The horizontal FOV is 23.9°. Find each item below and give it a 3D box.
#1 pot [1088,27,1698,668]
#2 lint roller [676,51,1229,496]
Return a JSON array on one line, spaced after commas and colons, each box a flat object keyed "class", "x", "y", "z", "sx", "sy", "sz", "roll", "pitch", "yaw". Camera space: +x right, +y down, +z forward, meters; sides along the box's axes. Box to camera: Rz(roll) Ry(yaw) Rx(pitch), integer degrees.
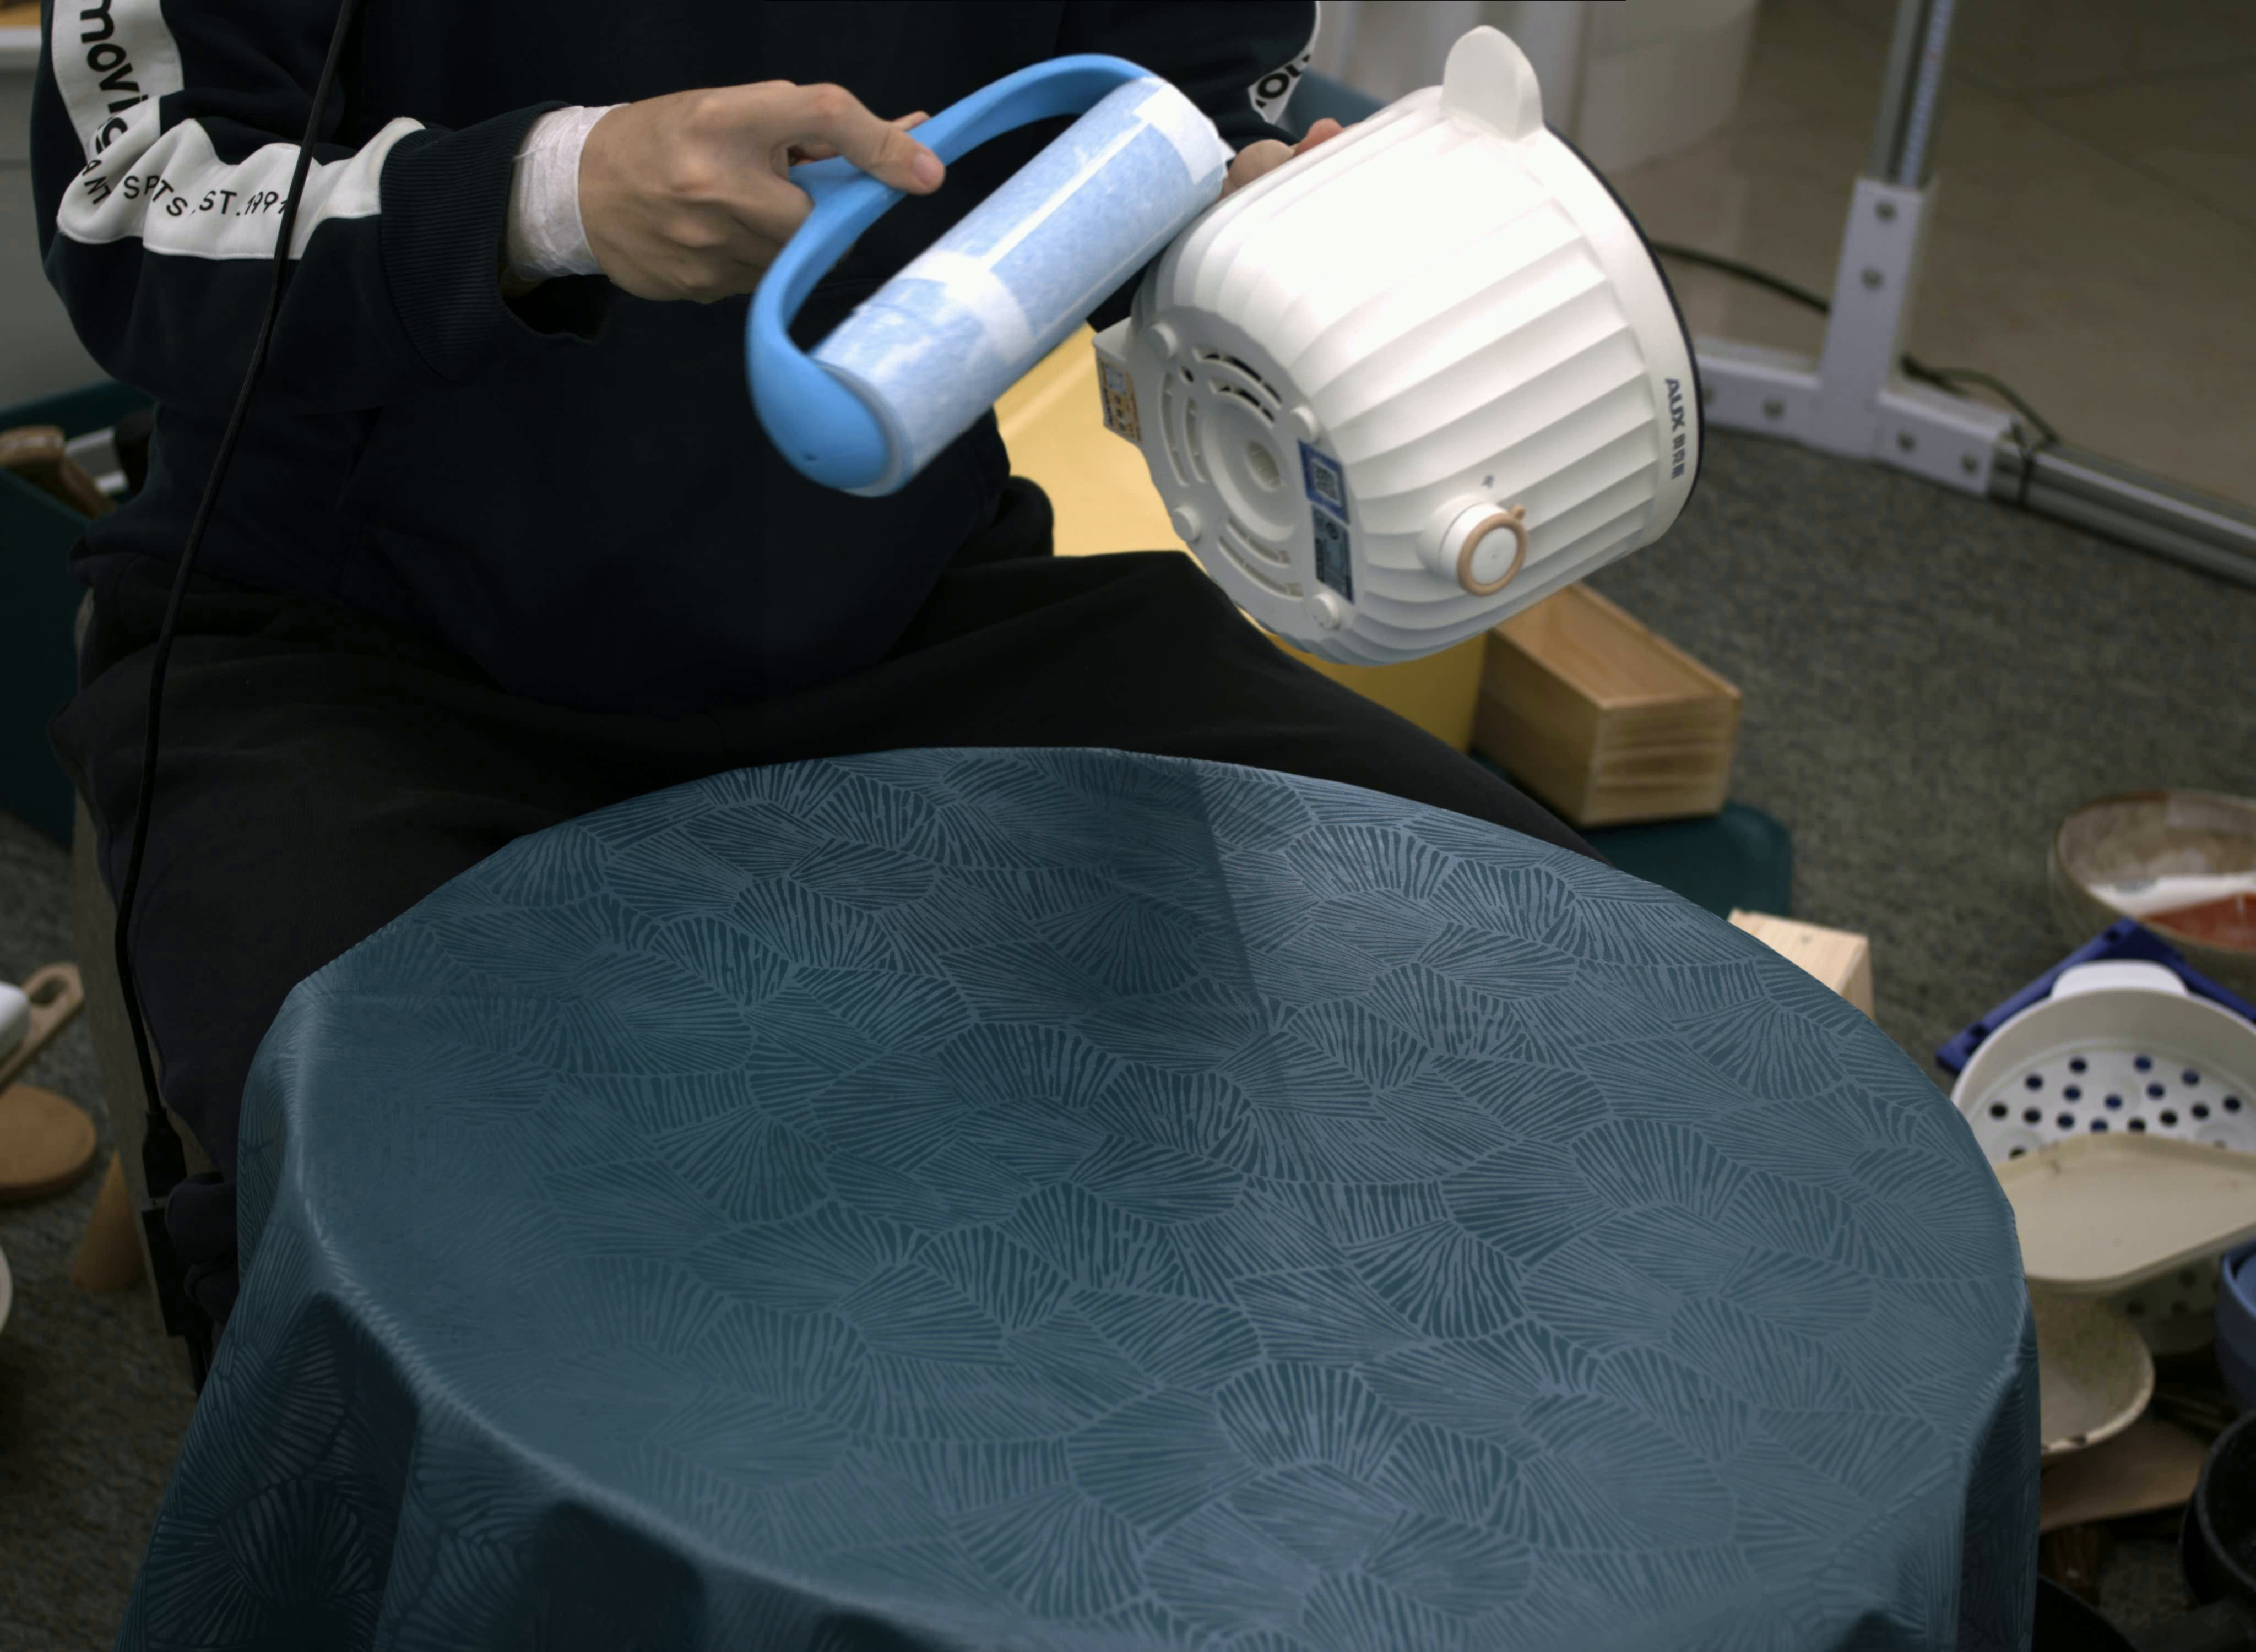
[{"class": "pot", "x": 0.093, "y": -0.147, "z": 1.869, "sx": 0.142, "sy": 0.239, "sz": 0.192, "roll": -33, "pitch": 44, "yaw": -27}, {"class": "lint roller", "x": -0.087, "y": -0.197, "z": 1.837, "sx": 0.181, "sy": 0.067, "sz": 0.229, "roll": 11, "pitch": 43, "yaw": 28}]
